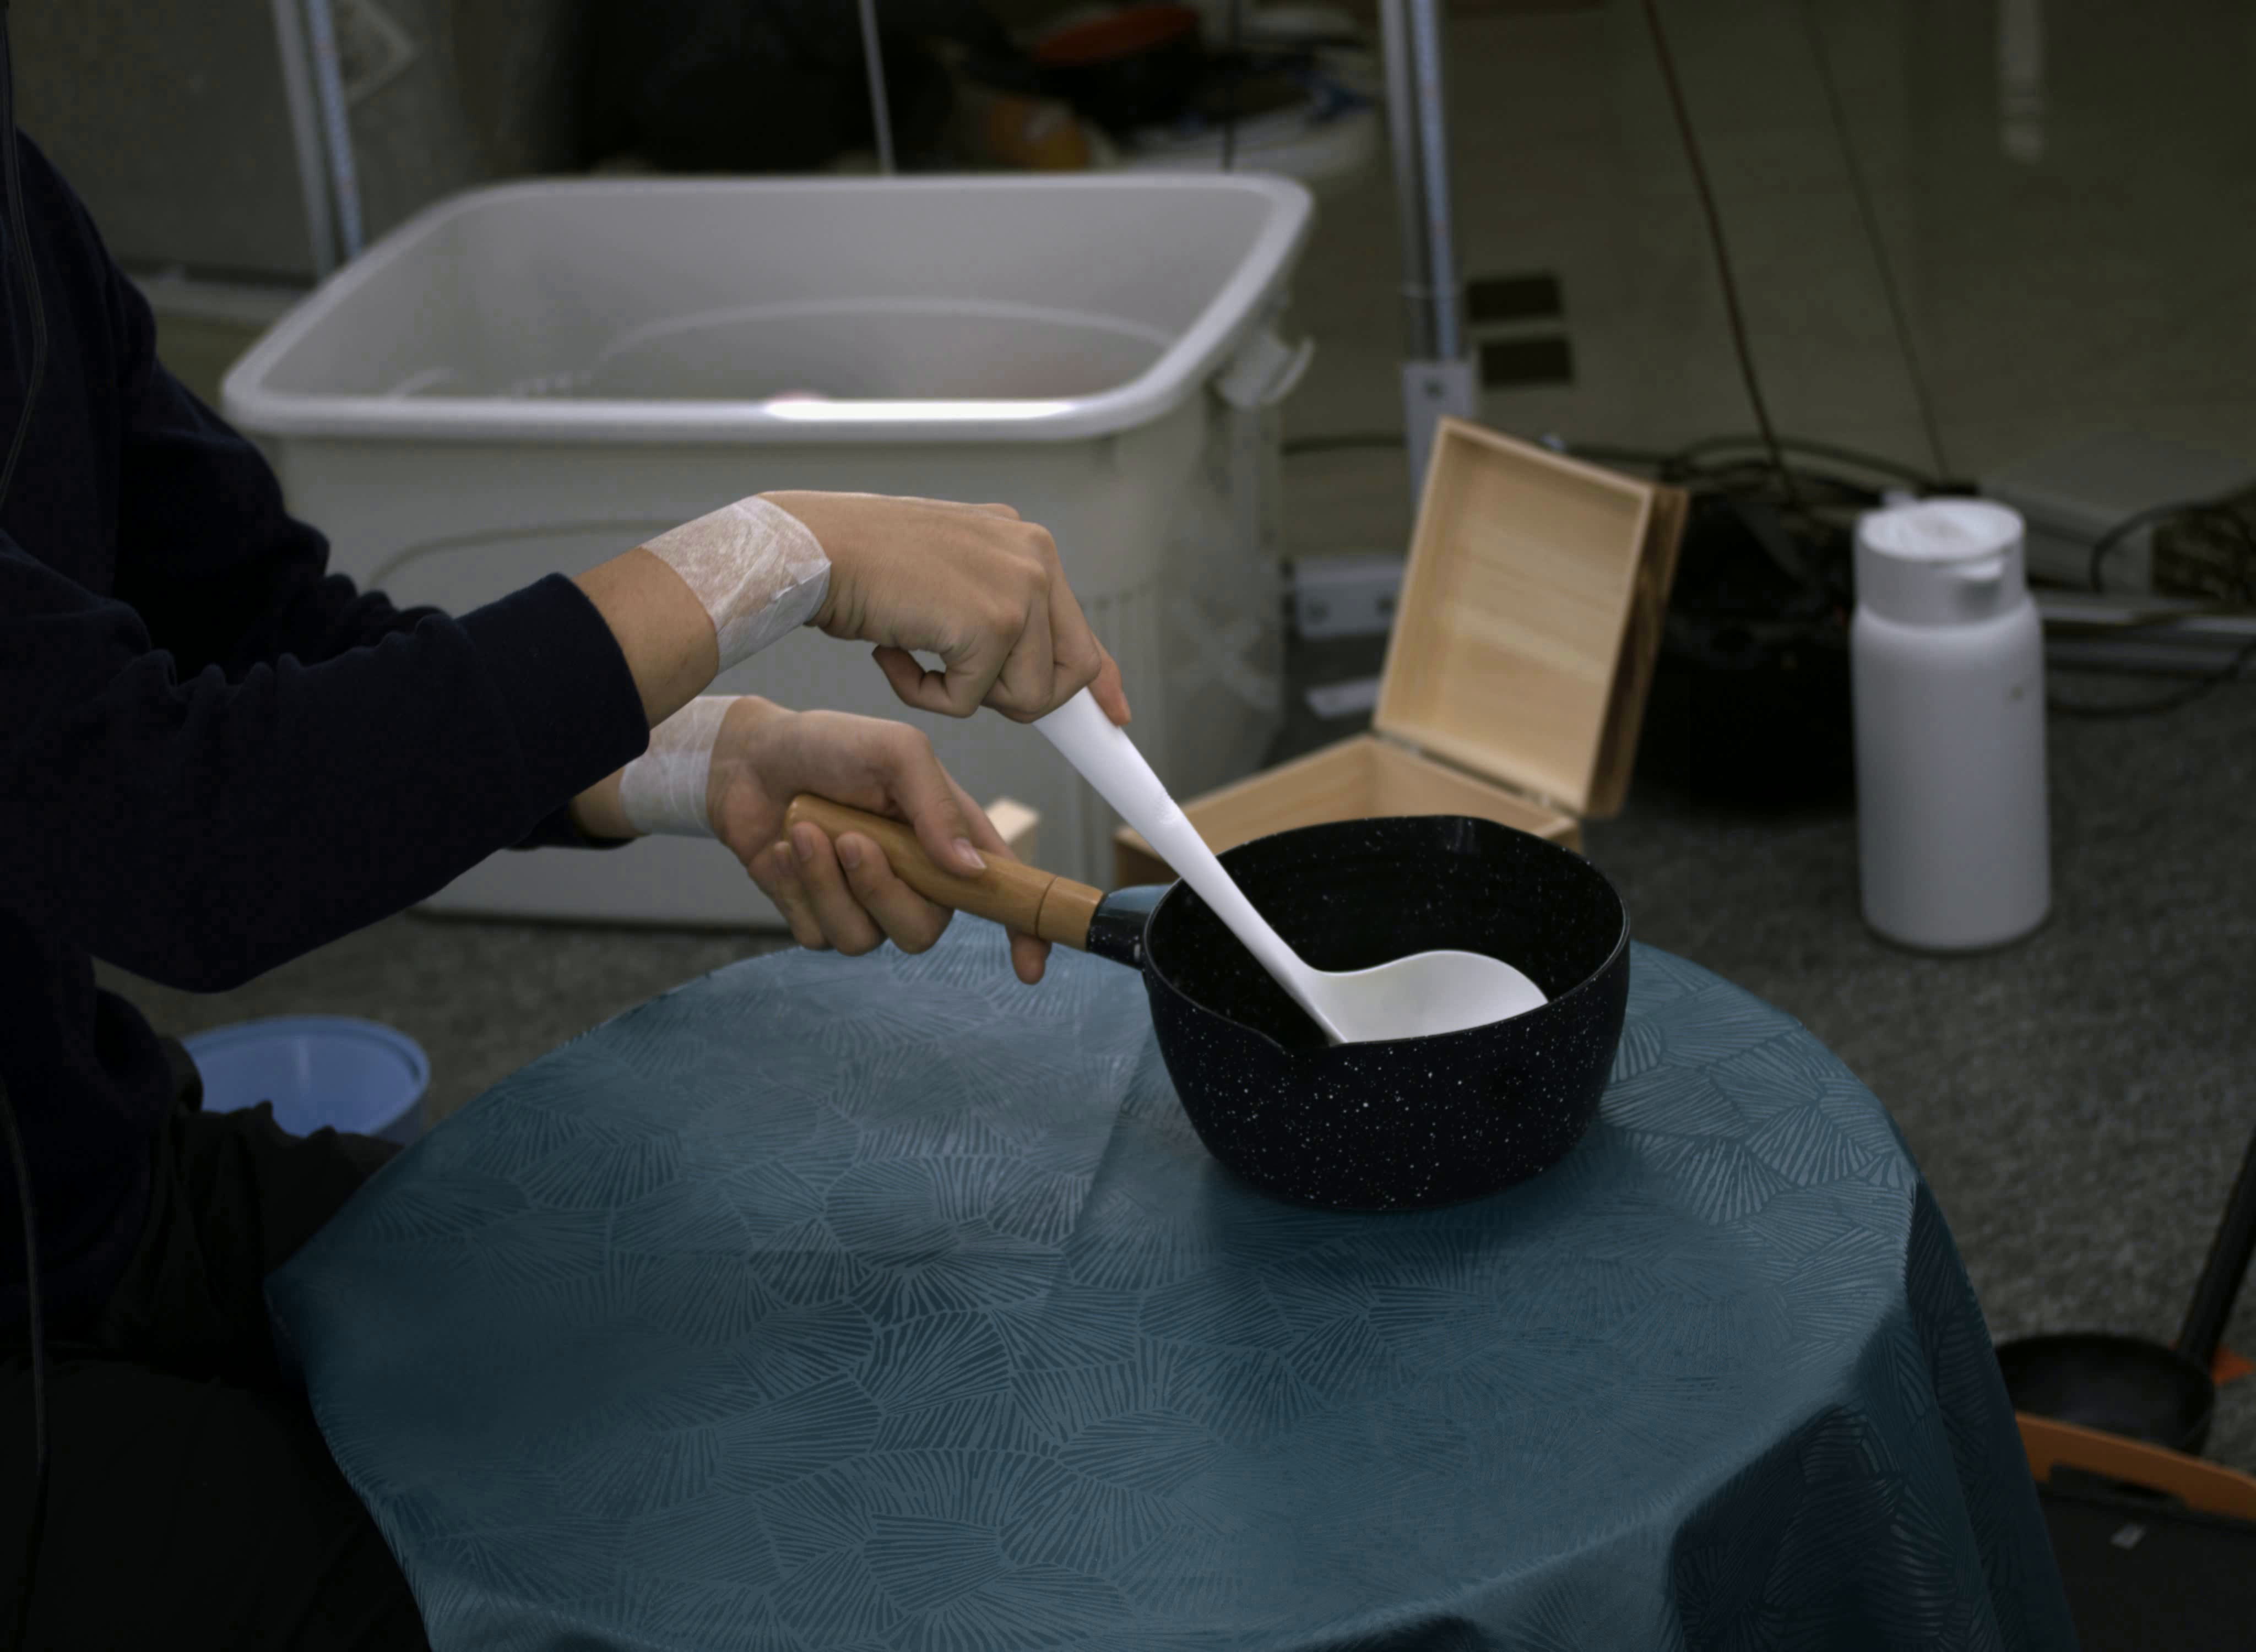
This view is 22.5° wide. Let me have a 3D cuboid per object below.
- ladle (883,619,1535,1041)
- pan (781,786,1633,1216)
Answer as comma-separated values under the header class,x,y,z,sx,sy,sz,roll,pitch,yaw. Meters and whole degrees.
class,x,y,z,sx,sy,sz,roll,pitch,yaw
ladle,0.036,0.018,2.115,0.070,0.295,0.089,-27,30,44
pan,0.025,0.056,2.175,0.341,0.110,0.204,7,30,19
